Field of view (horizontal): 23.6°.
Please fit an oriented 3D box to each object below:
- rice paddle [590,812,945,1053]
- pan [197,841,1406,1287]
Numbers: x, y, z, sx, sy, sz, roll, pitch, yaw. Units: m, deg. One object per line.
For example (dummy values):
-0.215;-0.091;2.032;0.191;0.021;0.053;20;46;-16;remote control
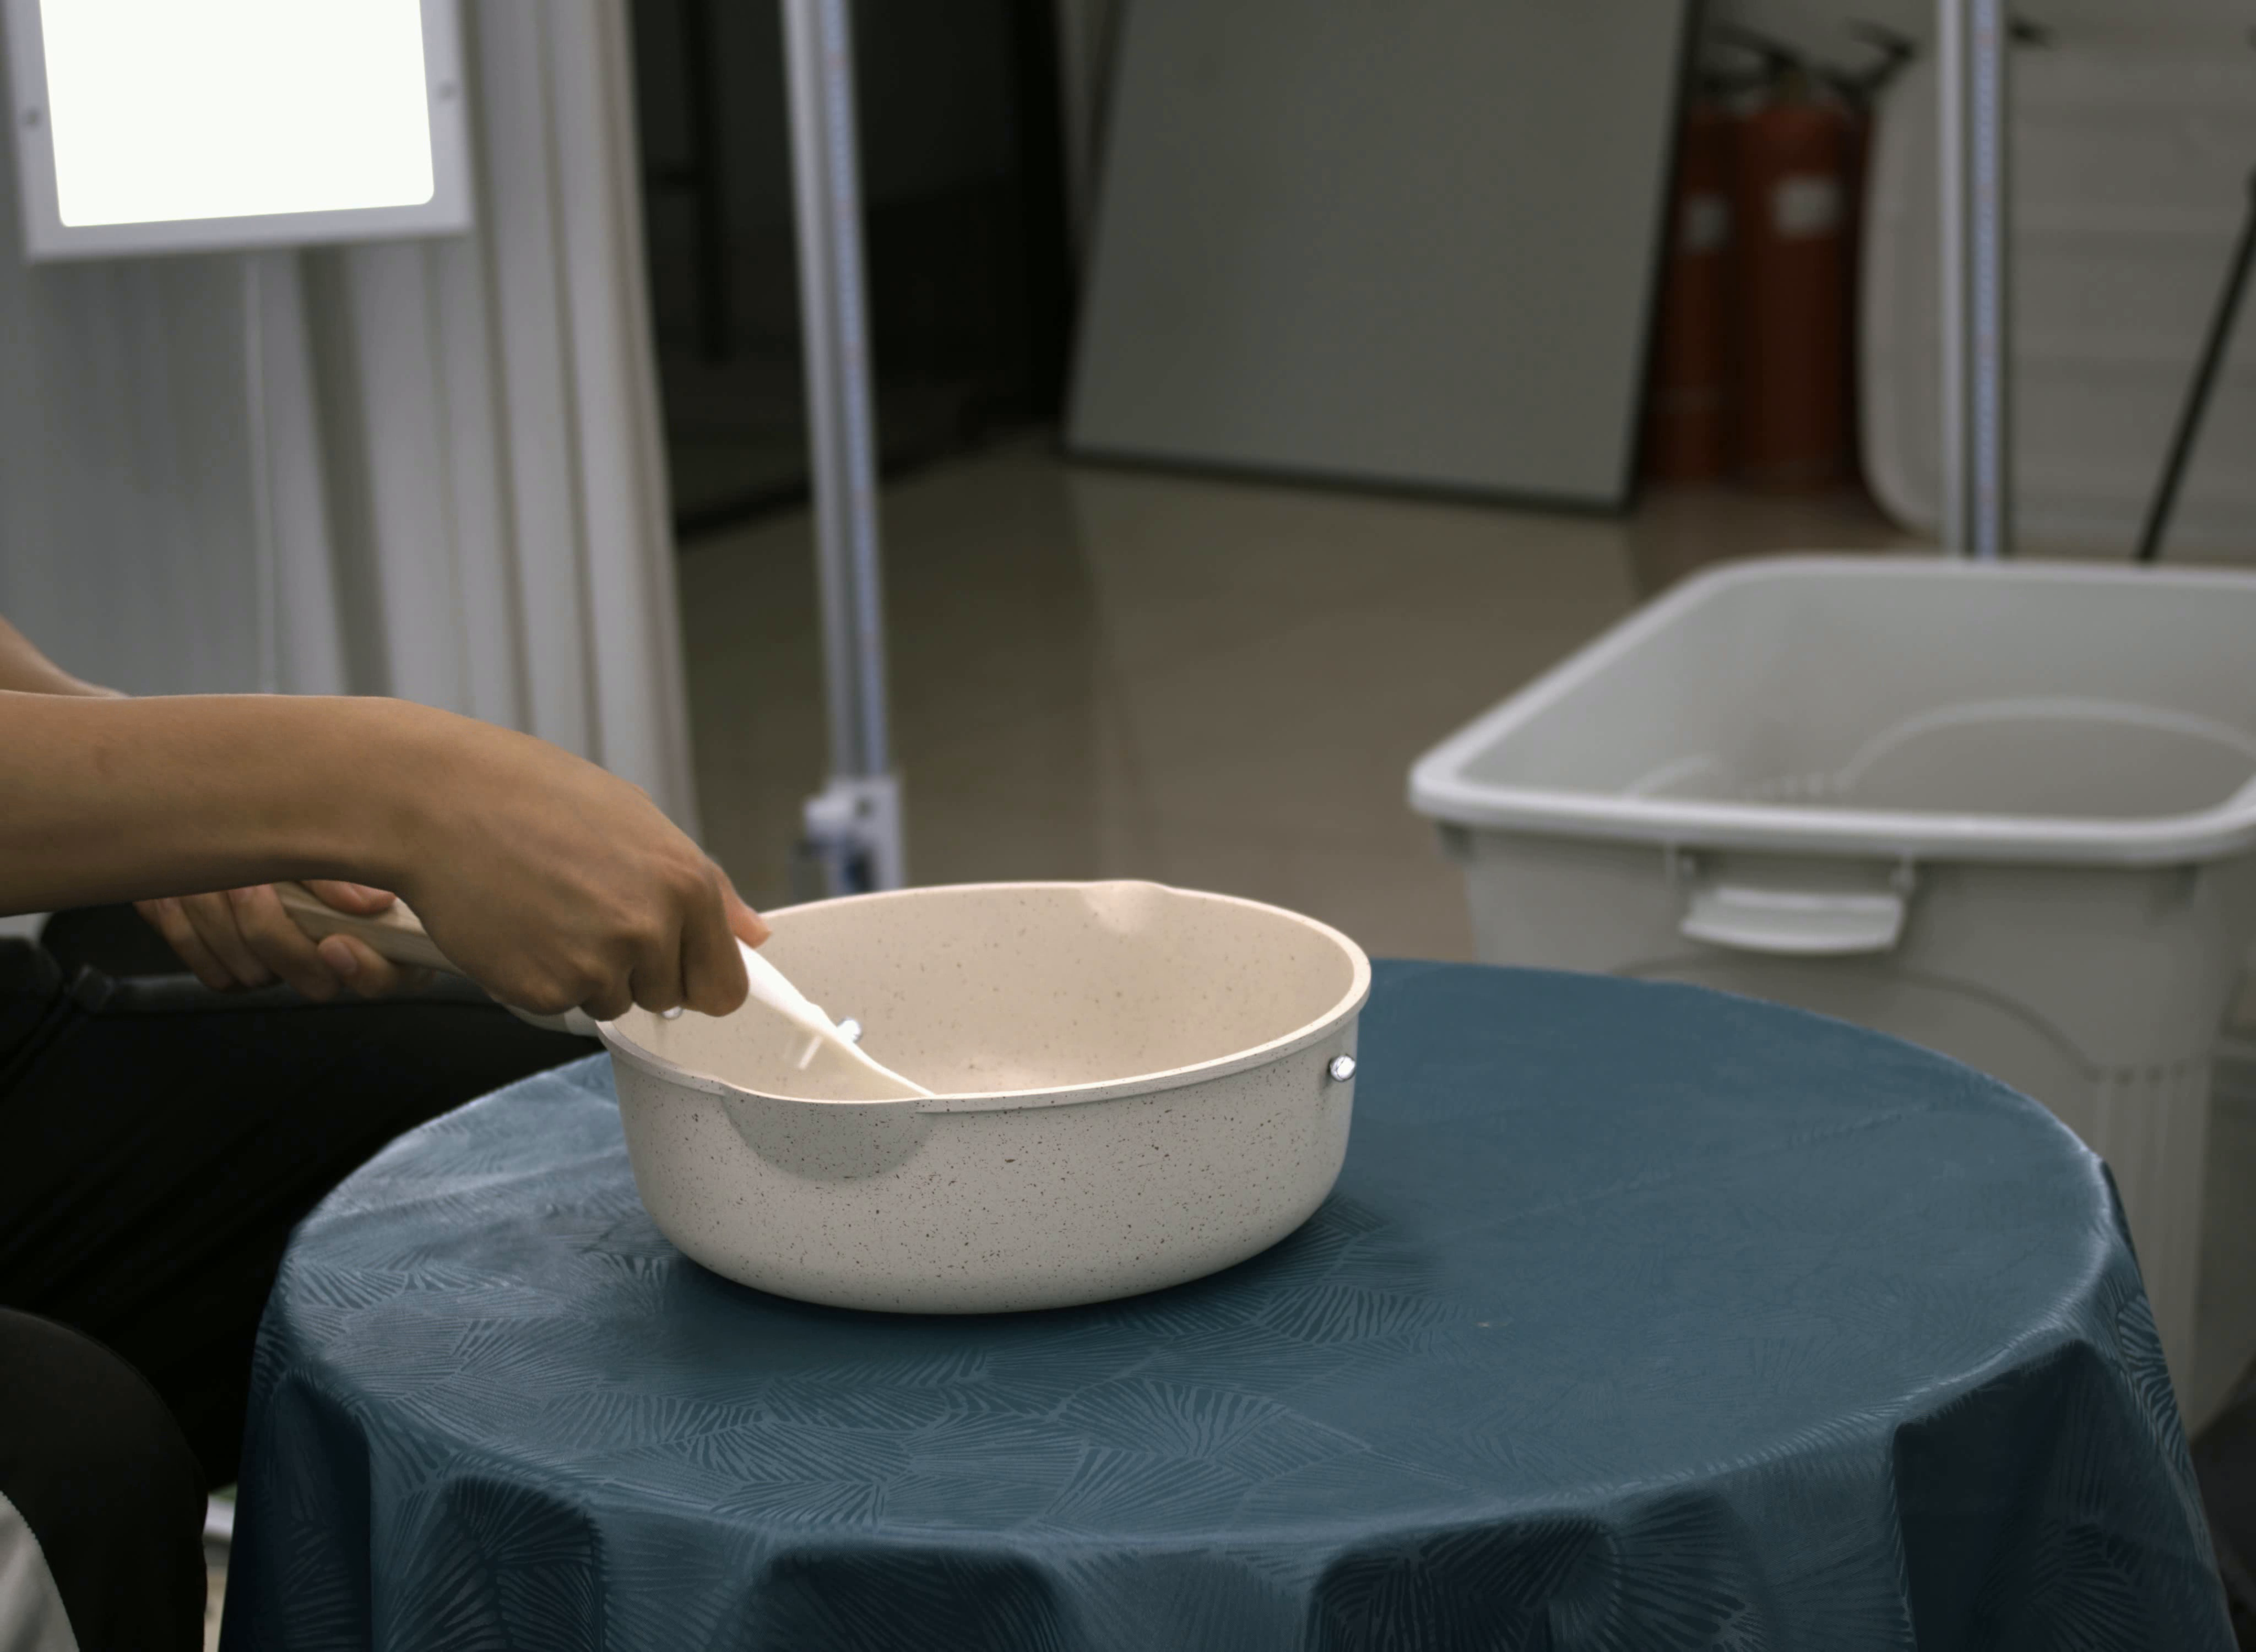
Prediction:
-0.086;0.056;1.733;0.202;0.029;0.069;34;-7;-31;rice paddle
-0.115;0.069;1.794;0.435;0.103;0.260;2;17;24;pan
